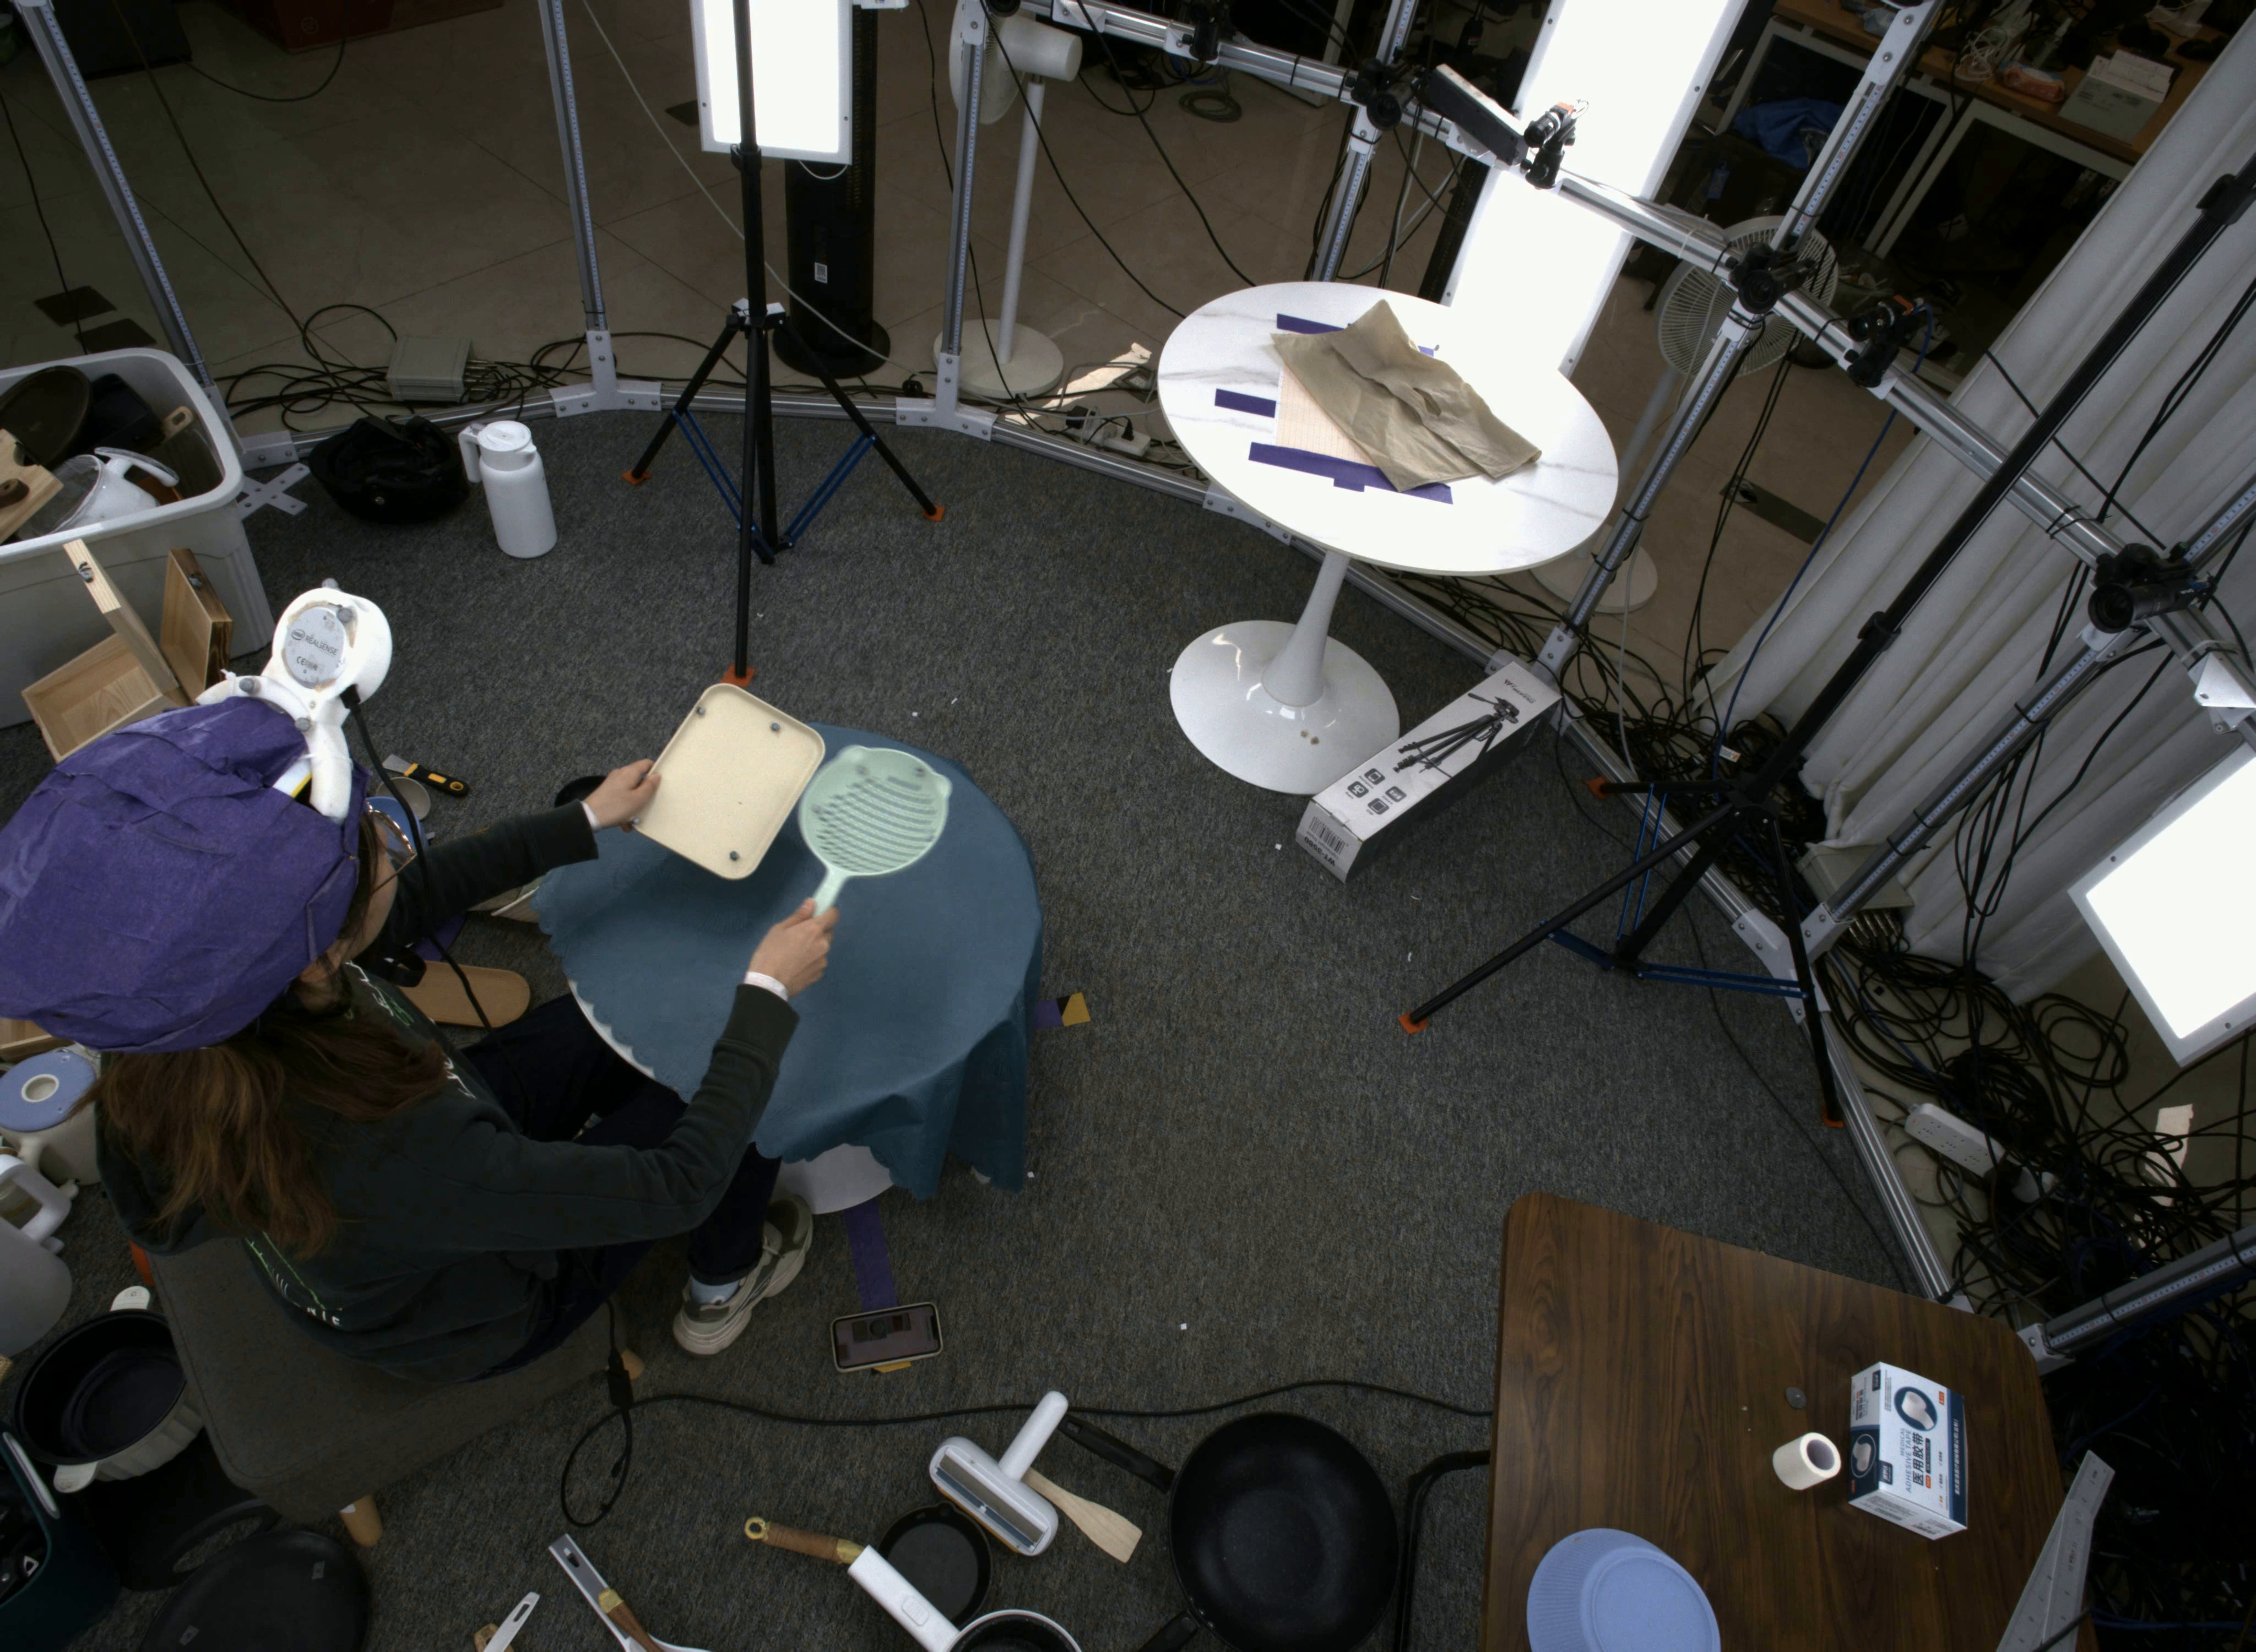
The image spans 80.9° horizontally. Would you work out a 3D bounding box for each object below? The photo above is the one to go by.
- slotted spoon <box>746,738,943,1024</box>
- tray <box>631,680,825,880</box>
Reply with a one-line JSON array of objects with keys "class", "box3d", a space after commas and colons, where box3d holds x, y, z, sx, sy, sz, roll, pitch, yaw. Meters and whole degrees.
[{"class": "slotted spoon", "box3d": [-0.338, 0.058, 1.464, 0.167, 0.077, 0.356, 21, 54, 5]}, {"class": "tray", "box3d": [-0.495, -0.059, 1.603, 0.173, 0.017, 0.238, 30, 59, -13]}]
